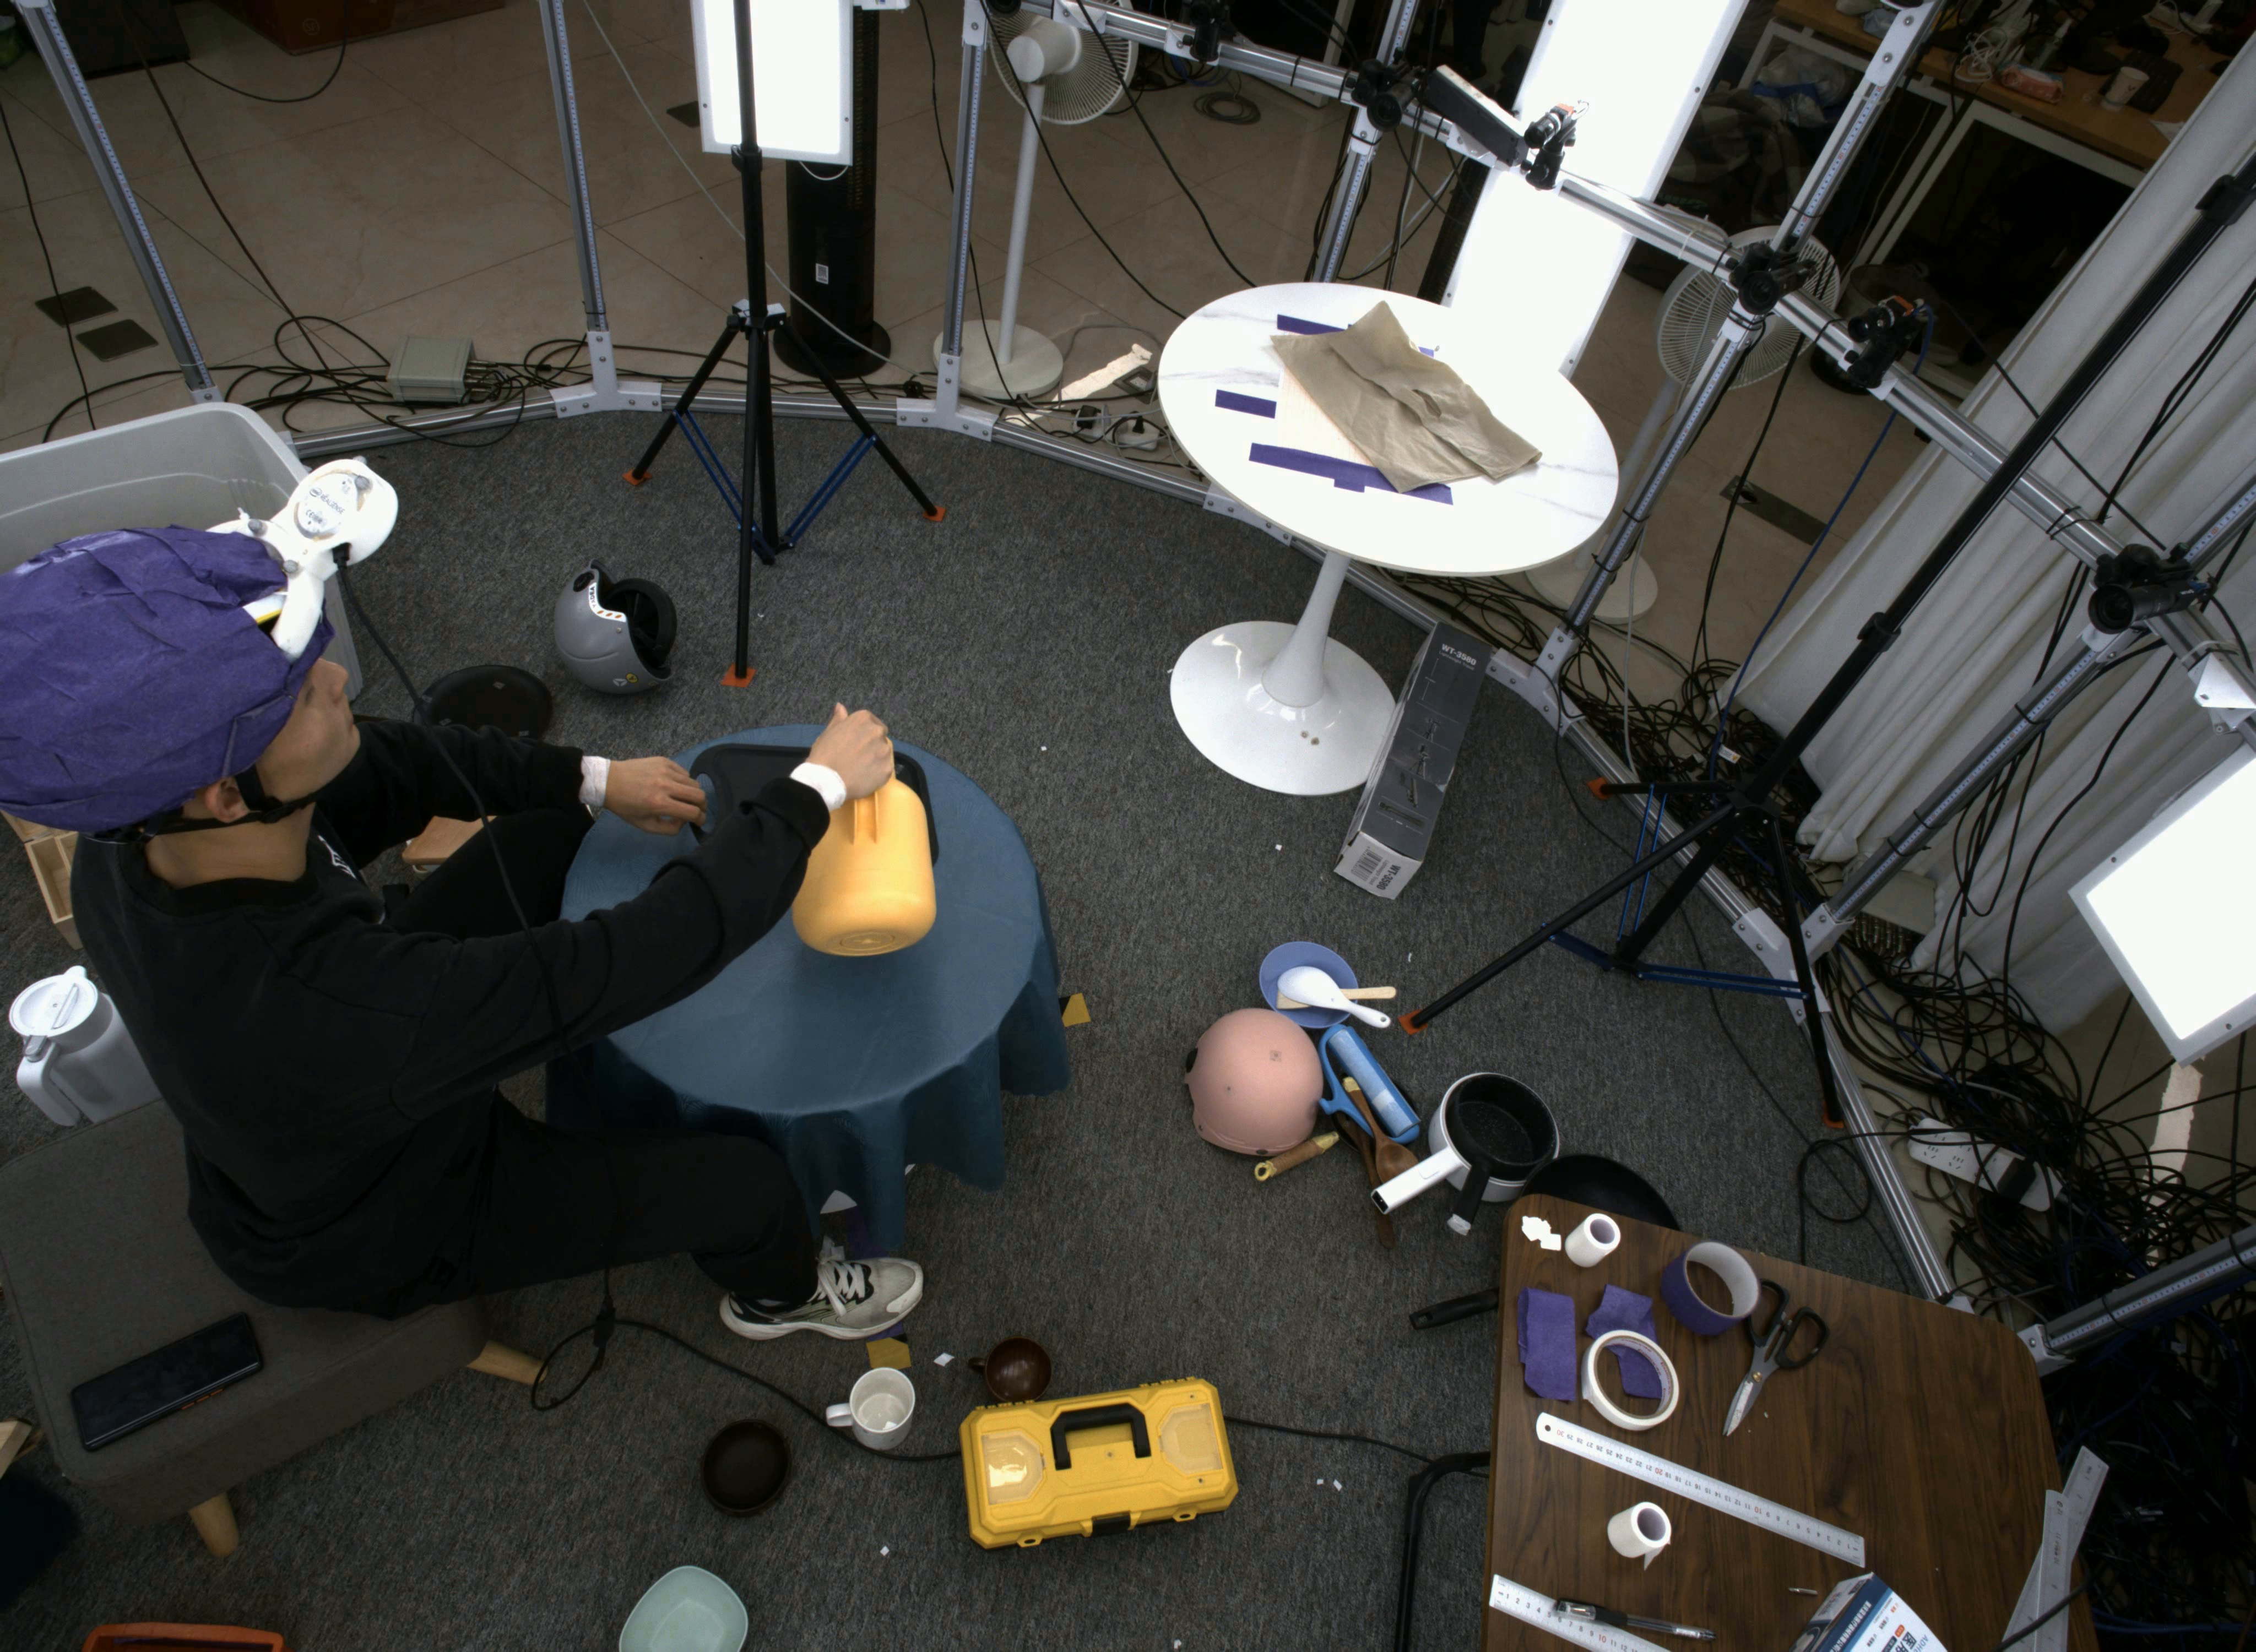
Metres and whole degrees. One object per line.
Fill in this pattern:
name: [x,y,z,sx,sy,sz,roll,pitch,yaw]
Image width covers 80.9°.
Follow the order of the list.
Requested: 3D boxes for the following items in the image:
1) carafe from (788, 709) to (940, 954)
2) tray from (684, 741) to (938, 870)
carafe: [-0.312,-0.002,1.495,0.164,0.204,0.258,-8,70,-15]
tray: [-0.415,-0.028,1.702,0.329,0.010,0.206,3,52,-26]
